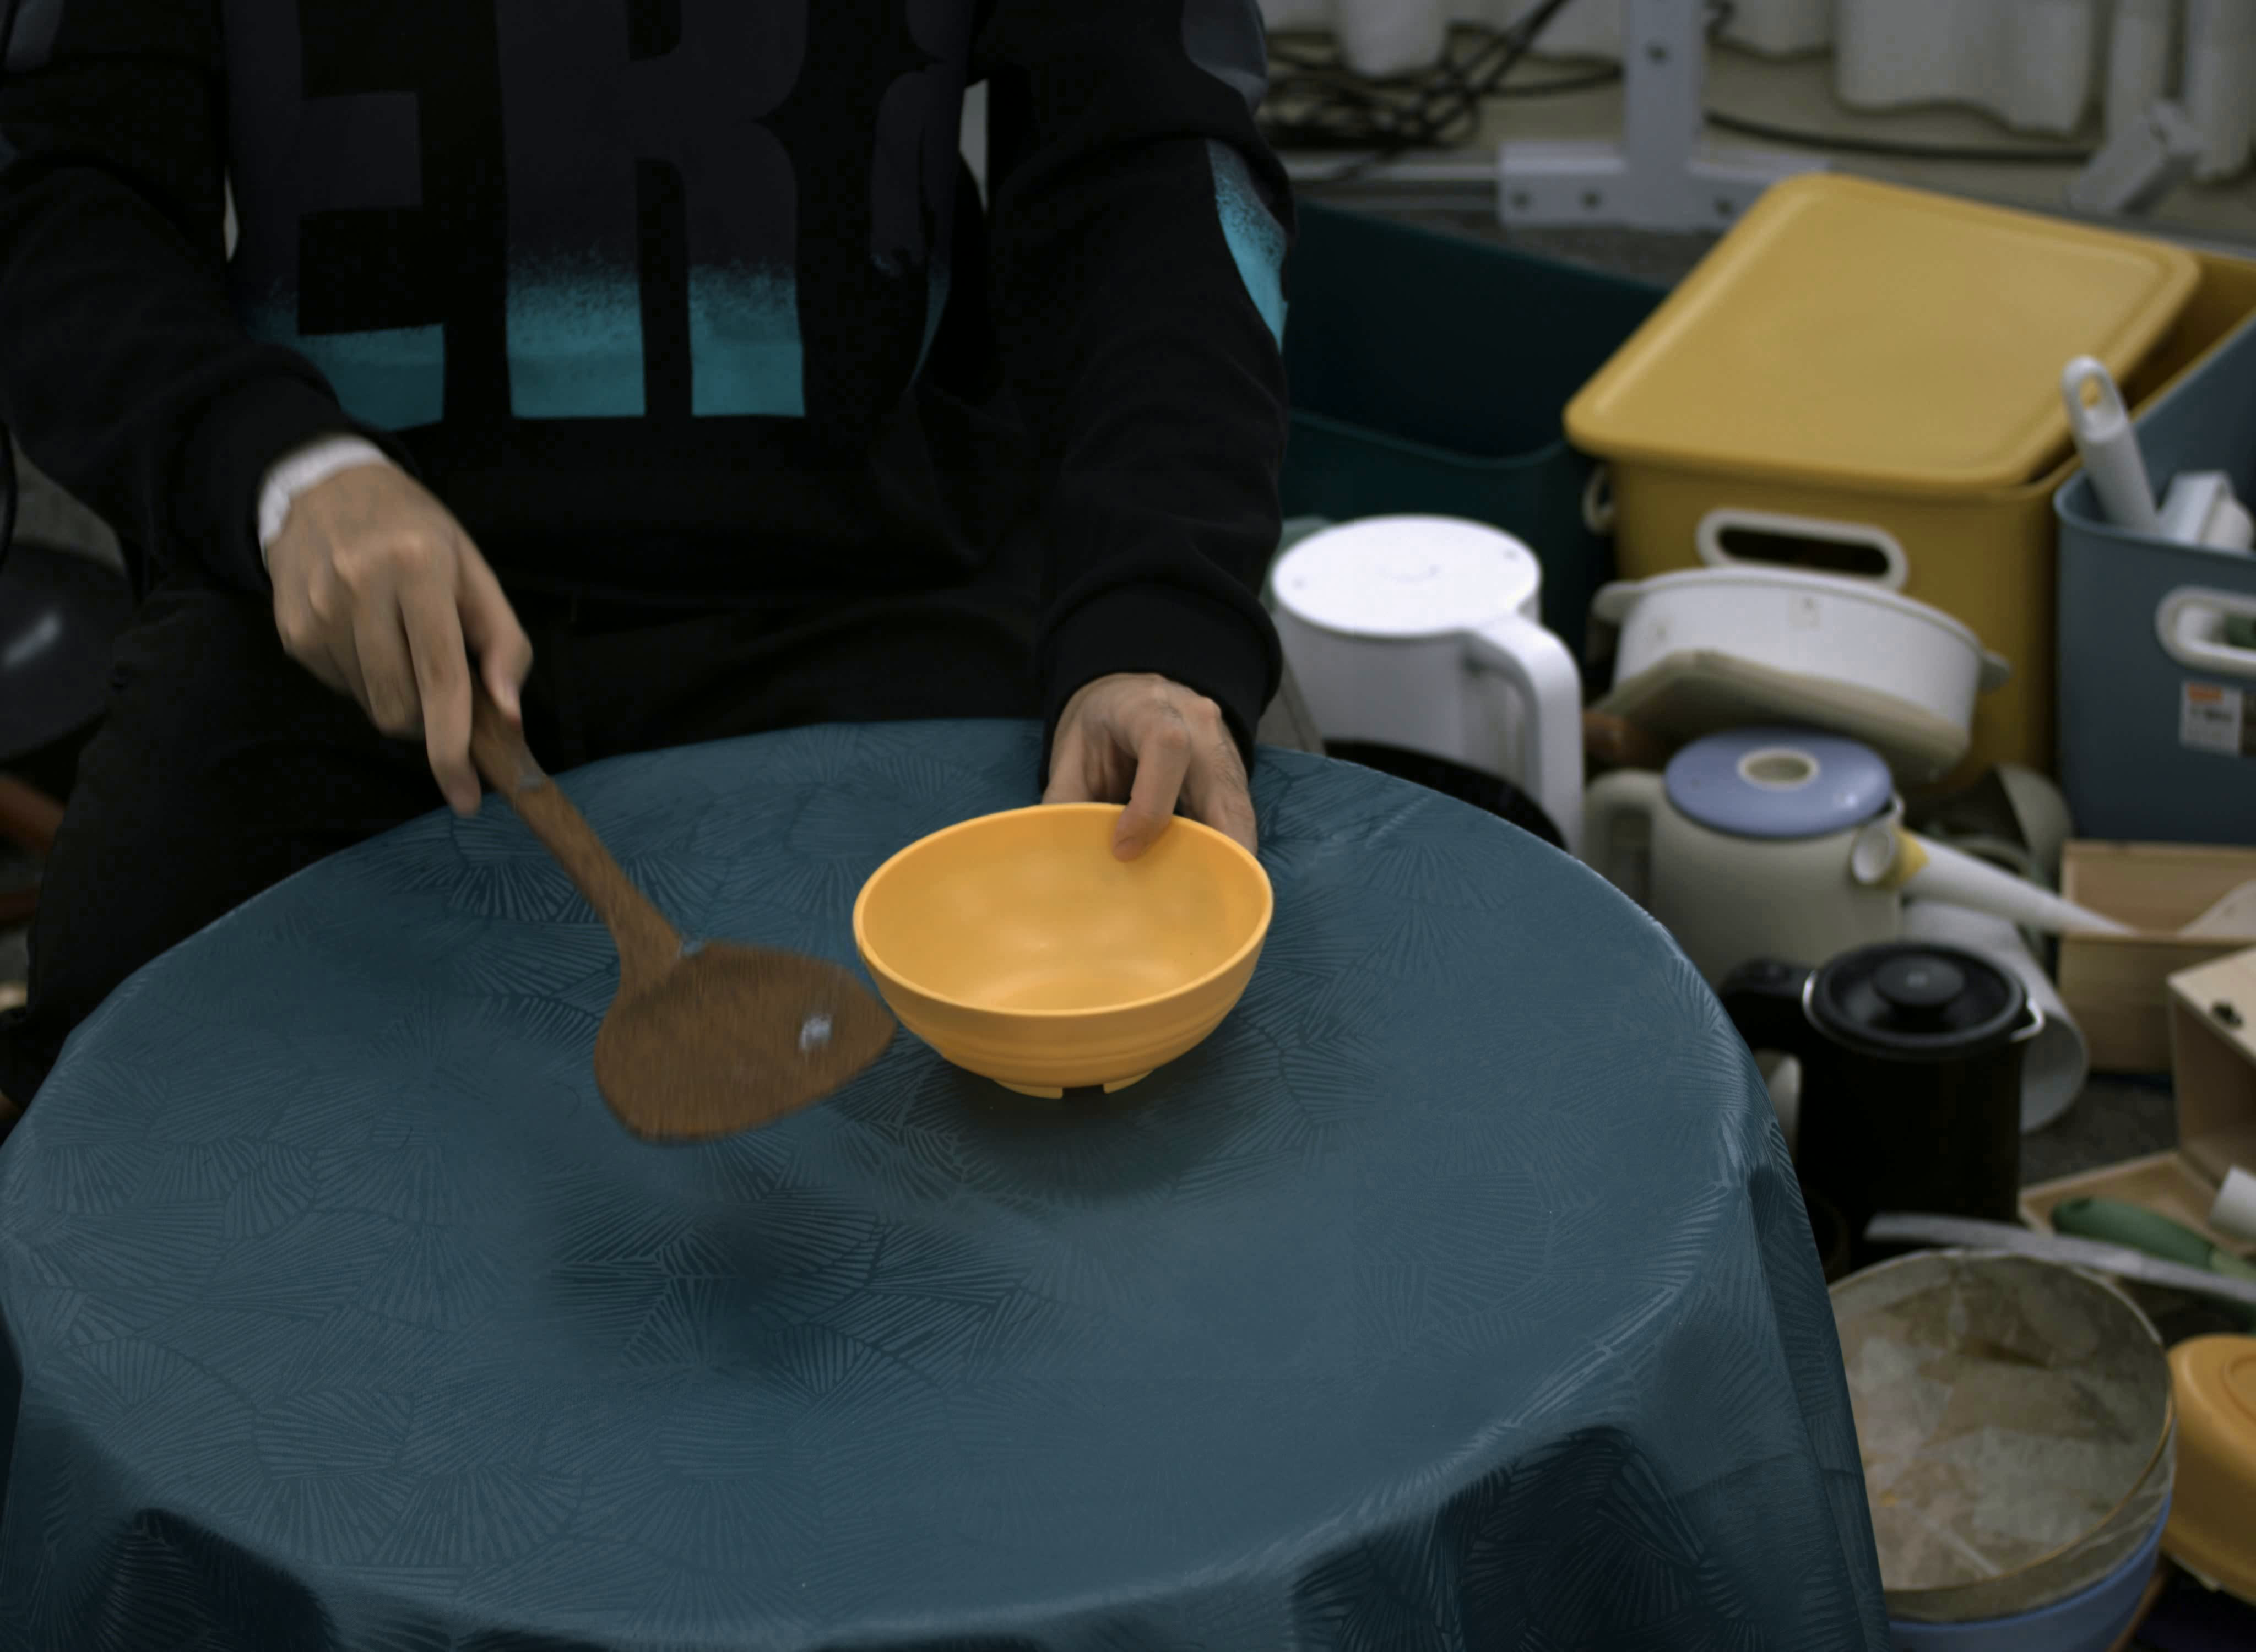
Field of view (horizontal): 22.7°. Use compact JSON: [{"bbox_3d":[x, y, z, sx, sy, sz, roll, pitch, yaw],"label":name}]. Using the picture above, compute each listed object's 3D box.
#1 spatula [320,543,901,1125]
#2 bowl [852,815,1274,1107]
[{"bbox_3d":[-0.196,-0.009,1.920,0.096,0.015,0.389,-24,40,-18],"label":"spatula"},{"bbox_3d":[-0.022,0.055,1.932,0.144,0.059,0.147,0,27,0],"label":"bowl"}]
